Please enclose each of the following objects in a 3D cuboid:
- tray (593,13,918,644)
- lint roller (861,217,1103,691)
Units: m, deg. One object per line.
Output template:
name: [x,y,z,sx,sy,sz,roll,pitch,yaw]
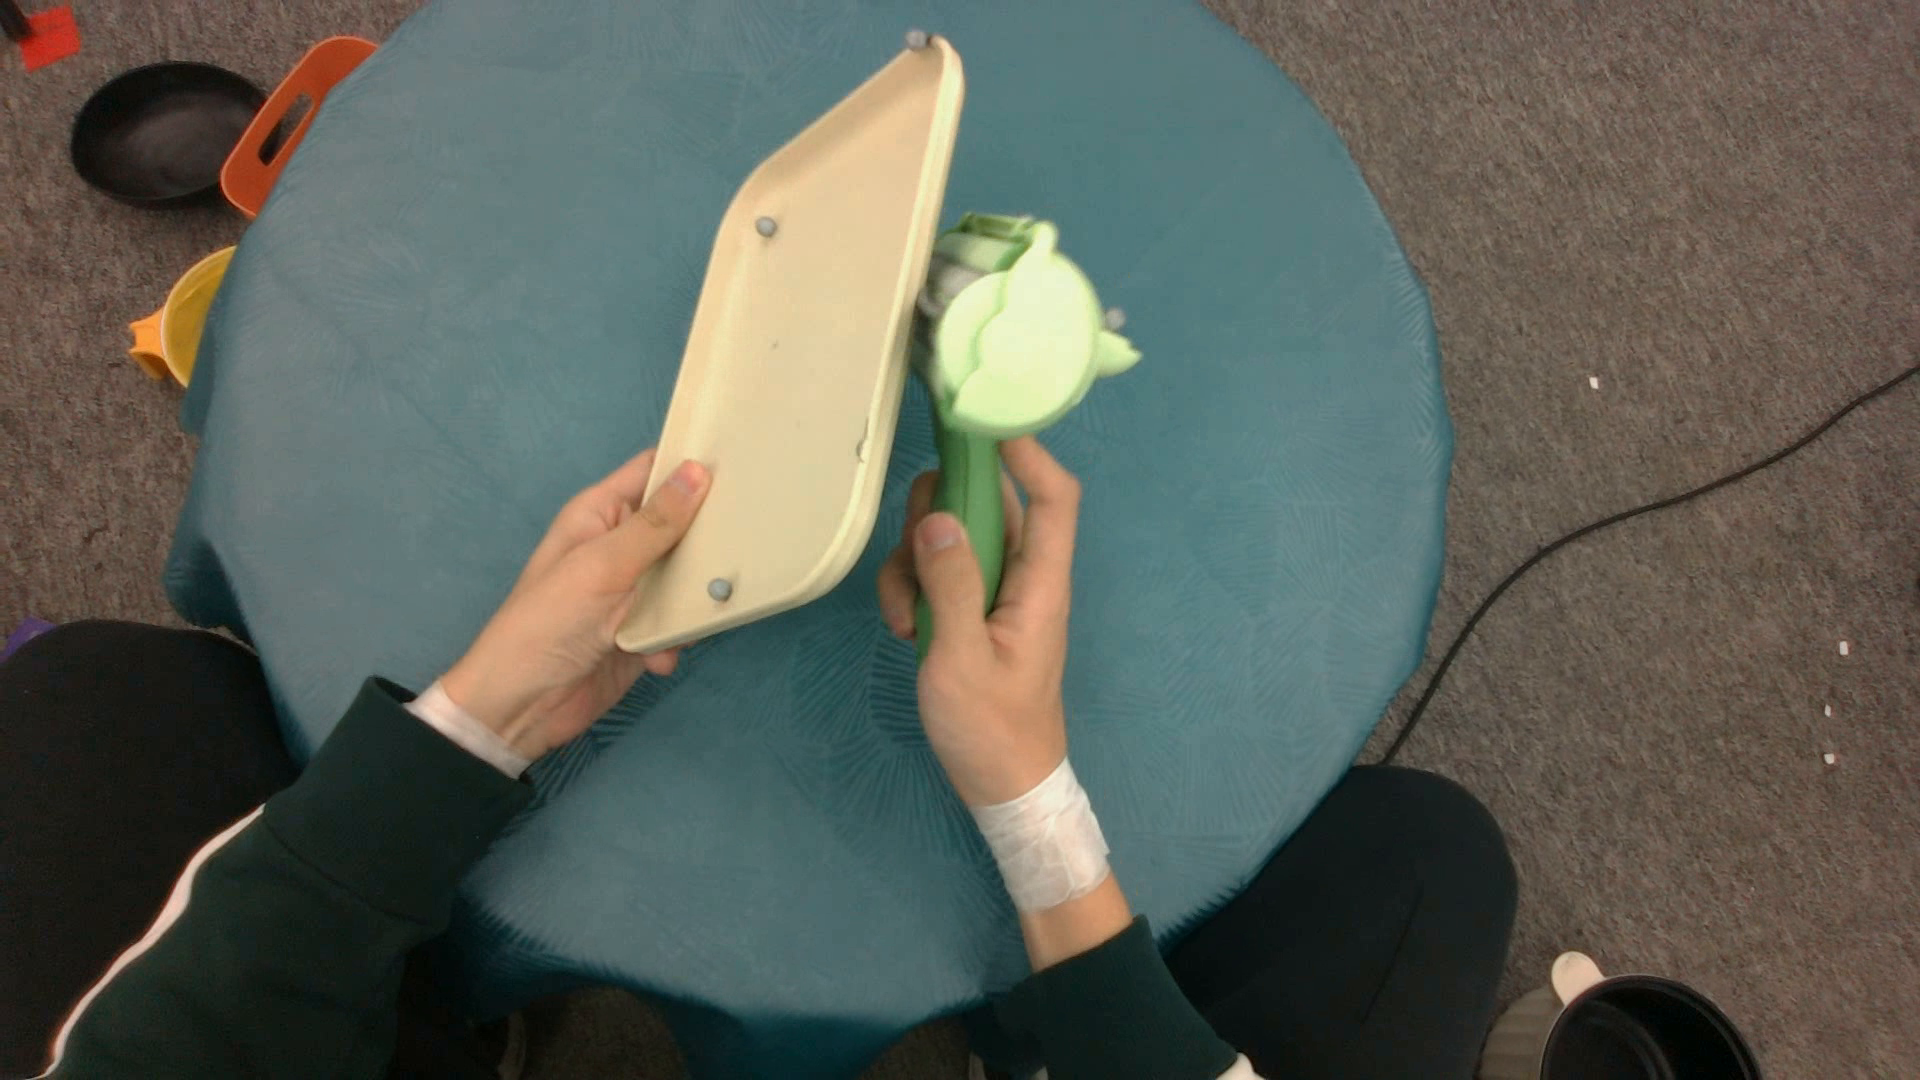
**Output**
tray: [-0.080,-0.081,0.540,0.017,0.170,0.240,24,62,-34]
lint roller: [0.006,-0.033,0.538,0.082,0.199,0.183,-10,105,-7]
